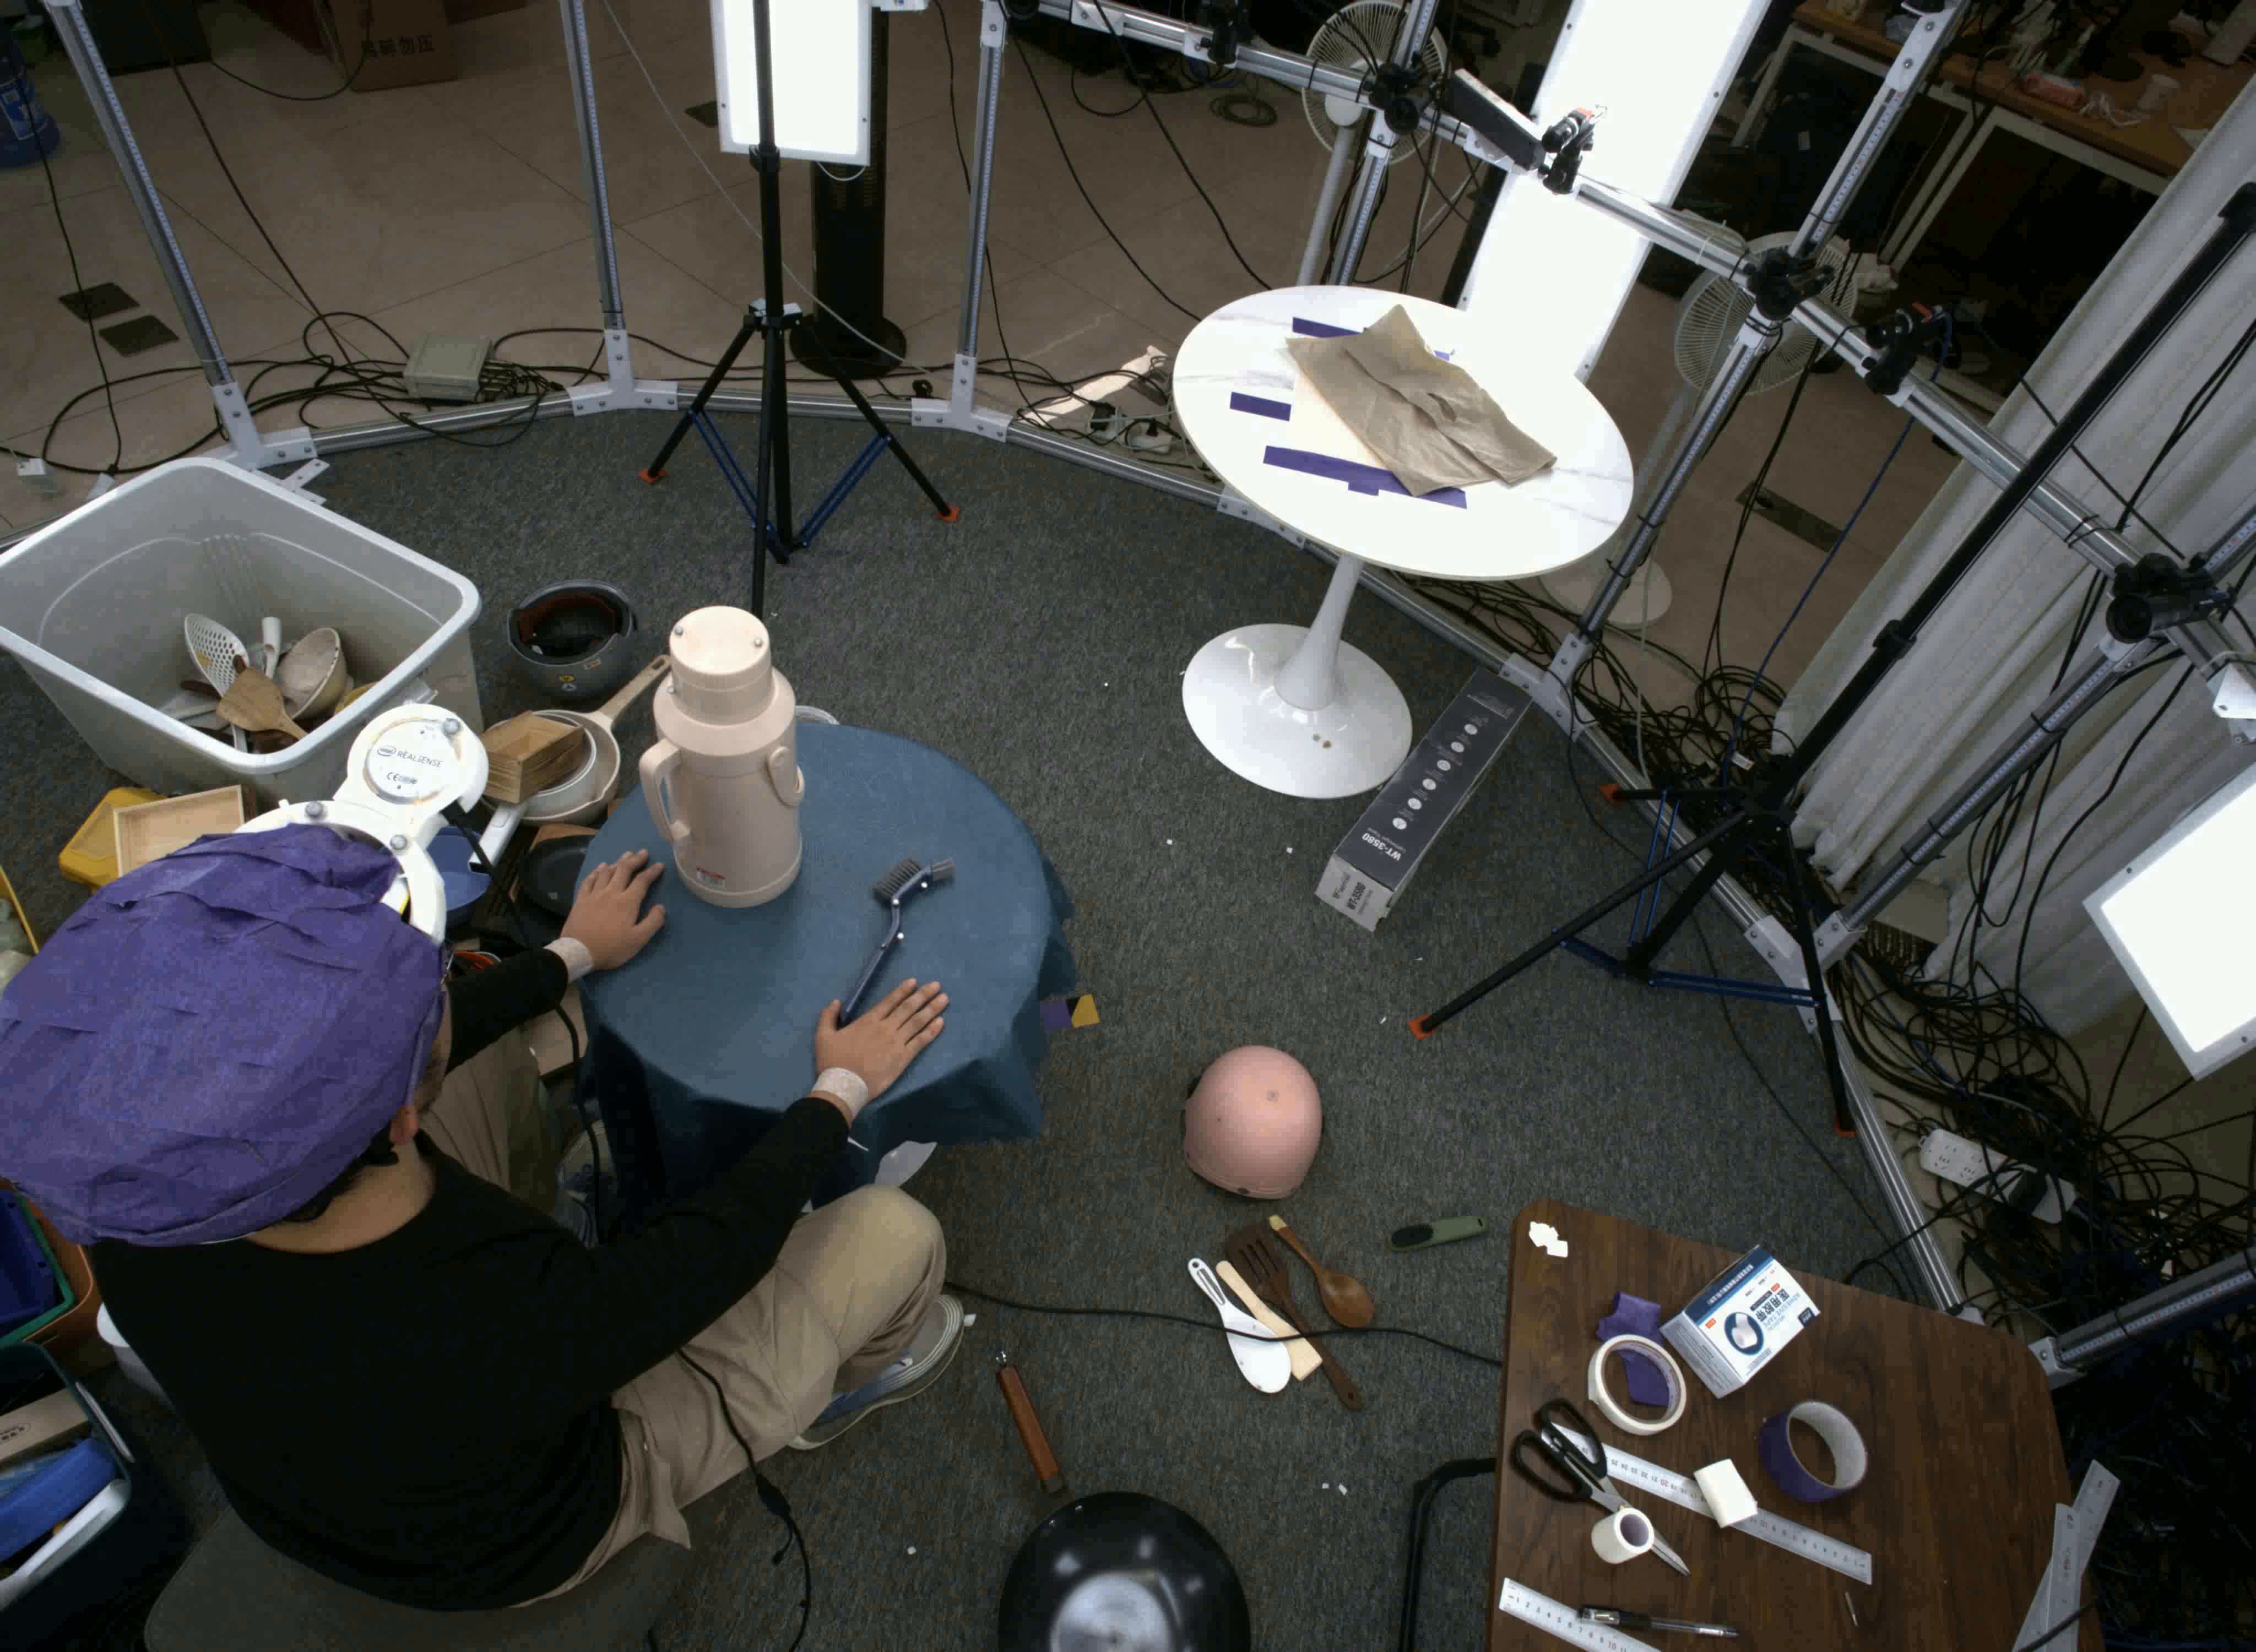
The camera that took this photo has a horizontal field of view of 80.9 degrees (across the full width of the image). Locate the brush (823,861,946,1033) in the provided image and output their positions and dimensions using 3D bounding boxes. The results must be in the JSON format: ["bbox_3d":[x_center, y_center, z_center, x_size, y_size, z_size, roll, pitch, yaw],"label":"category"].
[{"bbox_3d":[-0.306,0.143,1.621,0.095,0.034,0.269,14,49,-1],"label":"brush"}]

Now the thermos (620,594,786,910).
[{"bbox_3d":[-0.498,-0.074,1.498,0.172,0.414,0.207,34,53,13],"label":"thermos"}]
